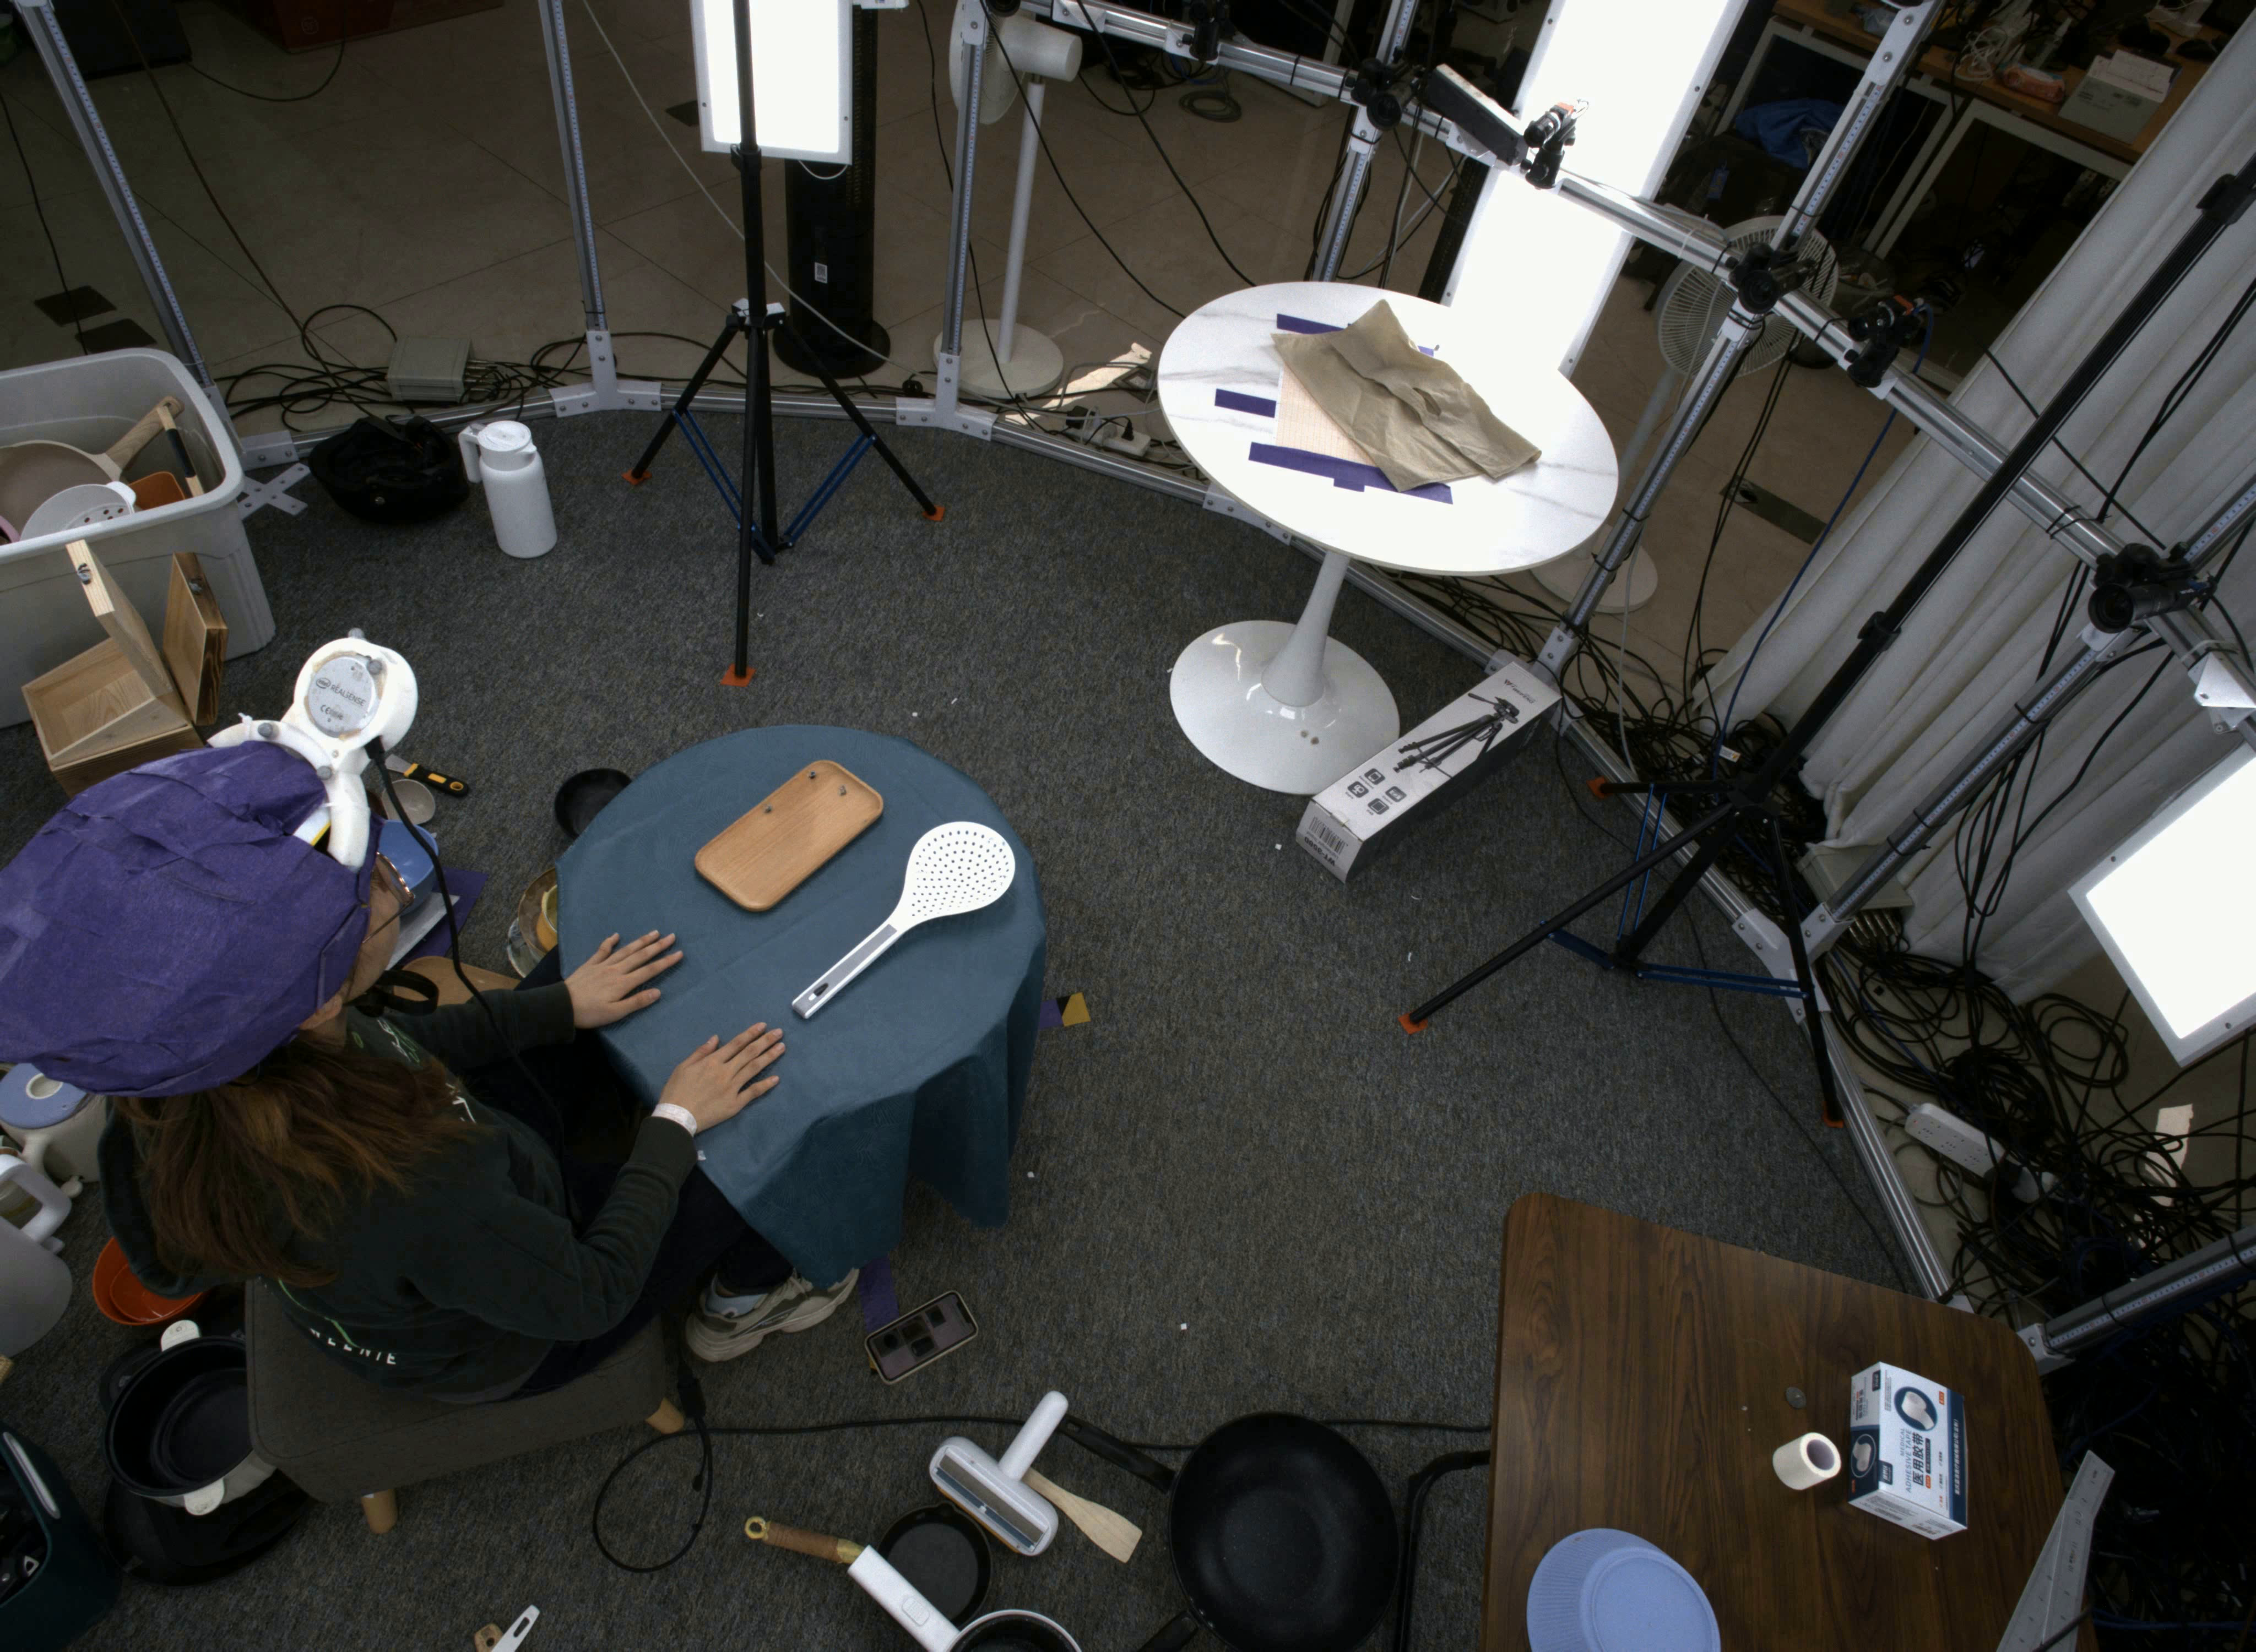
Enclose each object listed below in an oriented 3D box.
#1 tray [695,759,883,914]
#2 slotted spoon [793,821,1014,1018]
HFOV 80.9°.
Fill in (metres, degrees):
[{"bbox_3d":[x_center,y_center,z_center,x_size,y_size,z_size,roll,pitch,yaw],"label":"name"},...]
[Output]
[{"bbox_3d":[-0.443,0.010,1.706,0.128,0.023,0.250,34,54,14],"label":"tray"},{"bbox_3d":[-0.285,0.117,1.648,0.133,0.047,0.350,37,54,17],"label":"slotted spoon"}]
